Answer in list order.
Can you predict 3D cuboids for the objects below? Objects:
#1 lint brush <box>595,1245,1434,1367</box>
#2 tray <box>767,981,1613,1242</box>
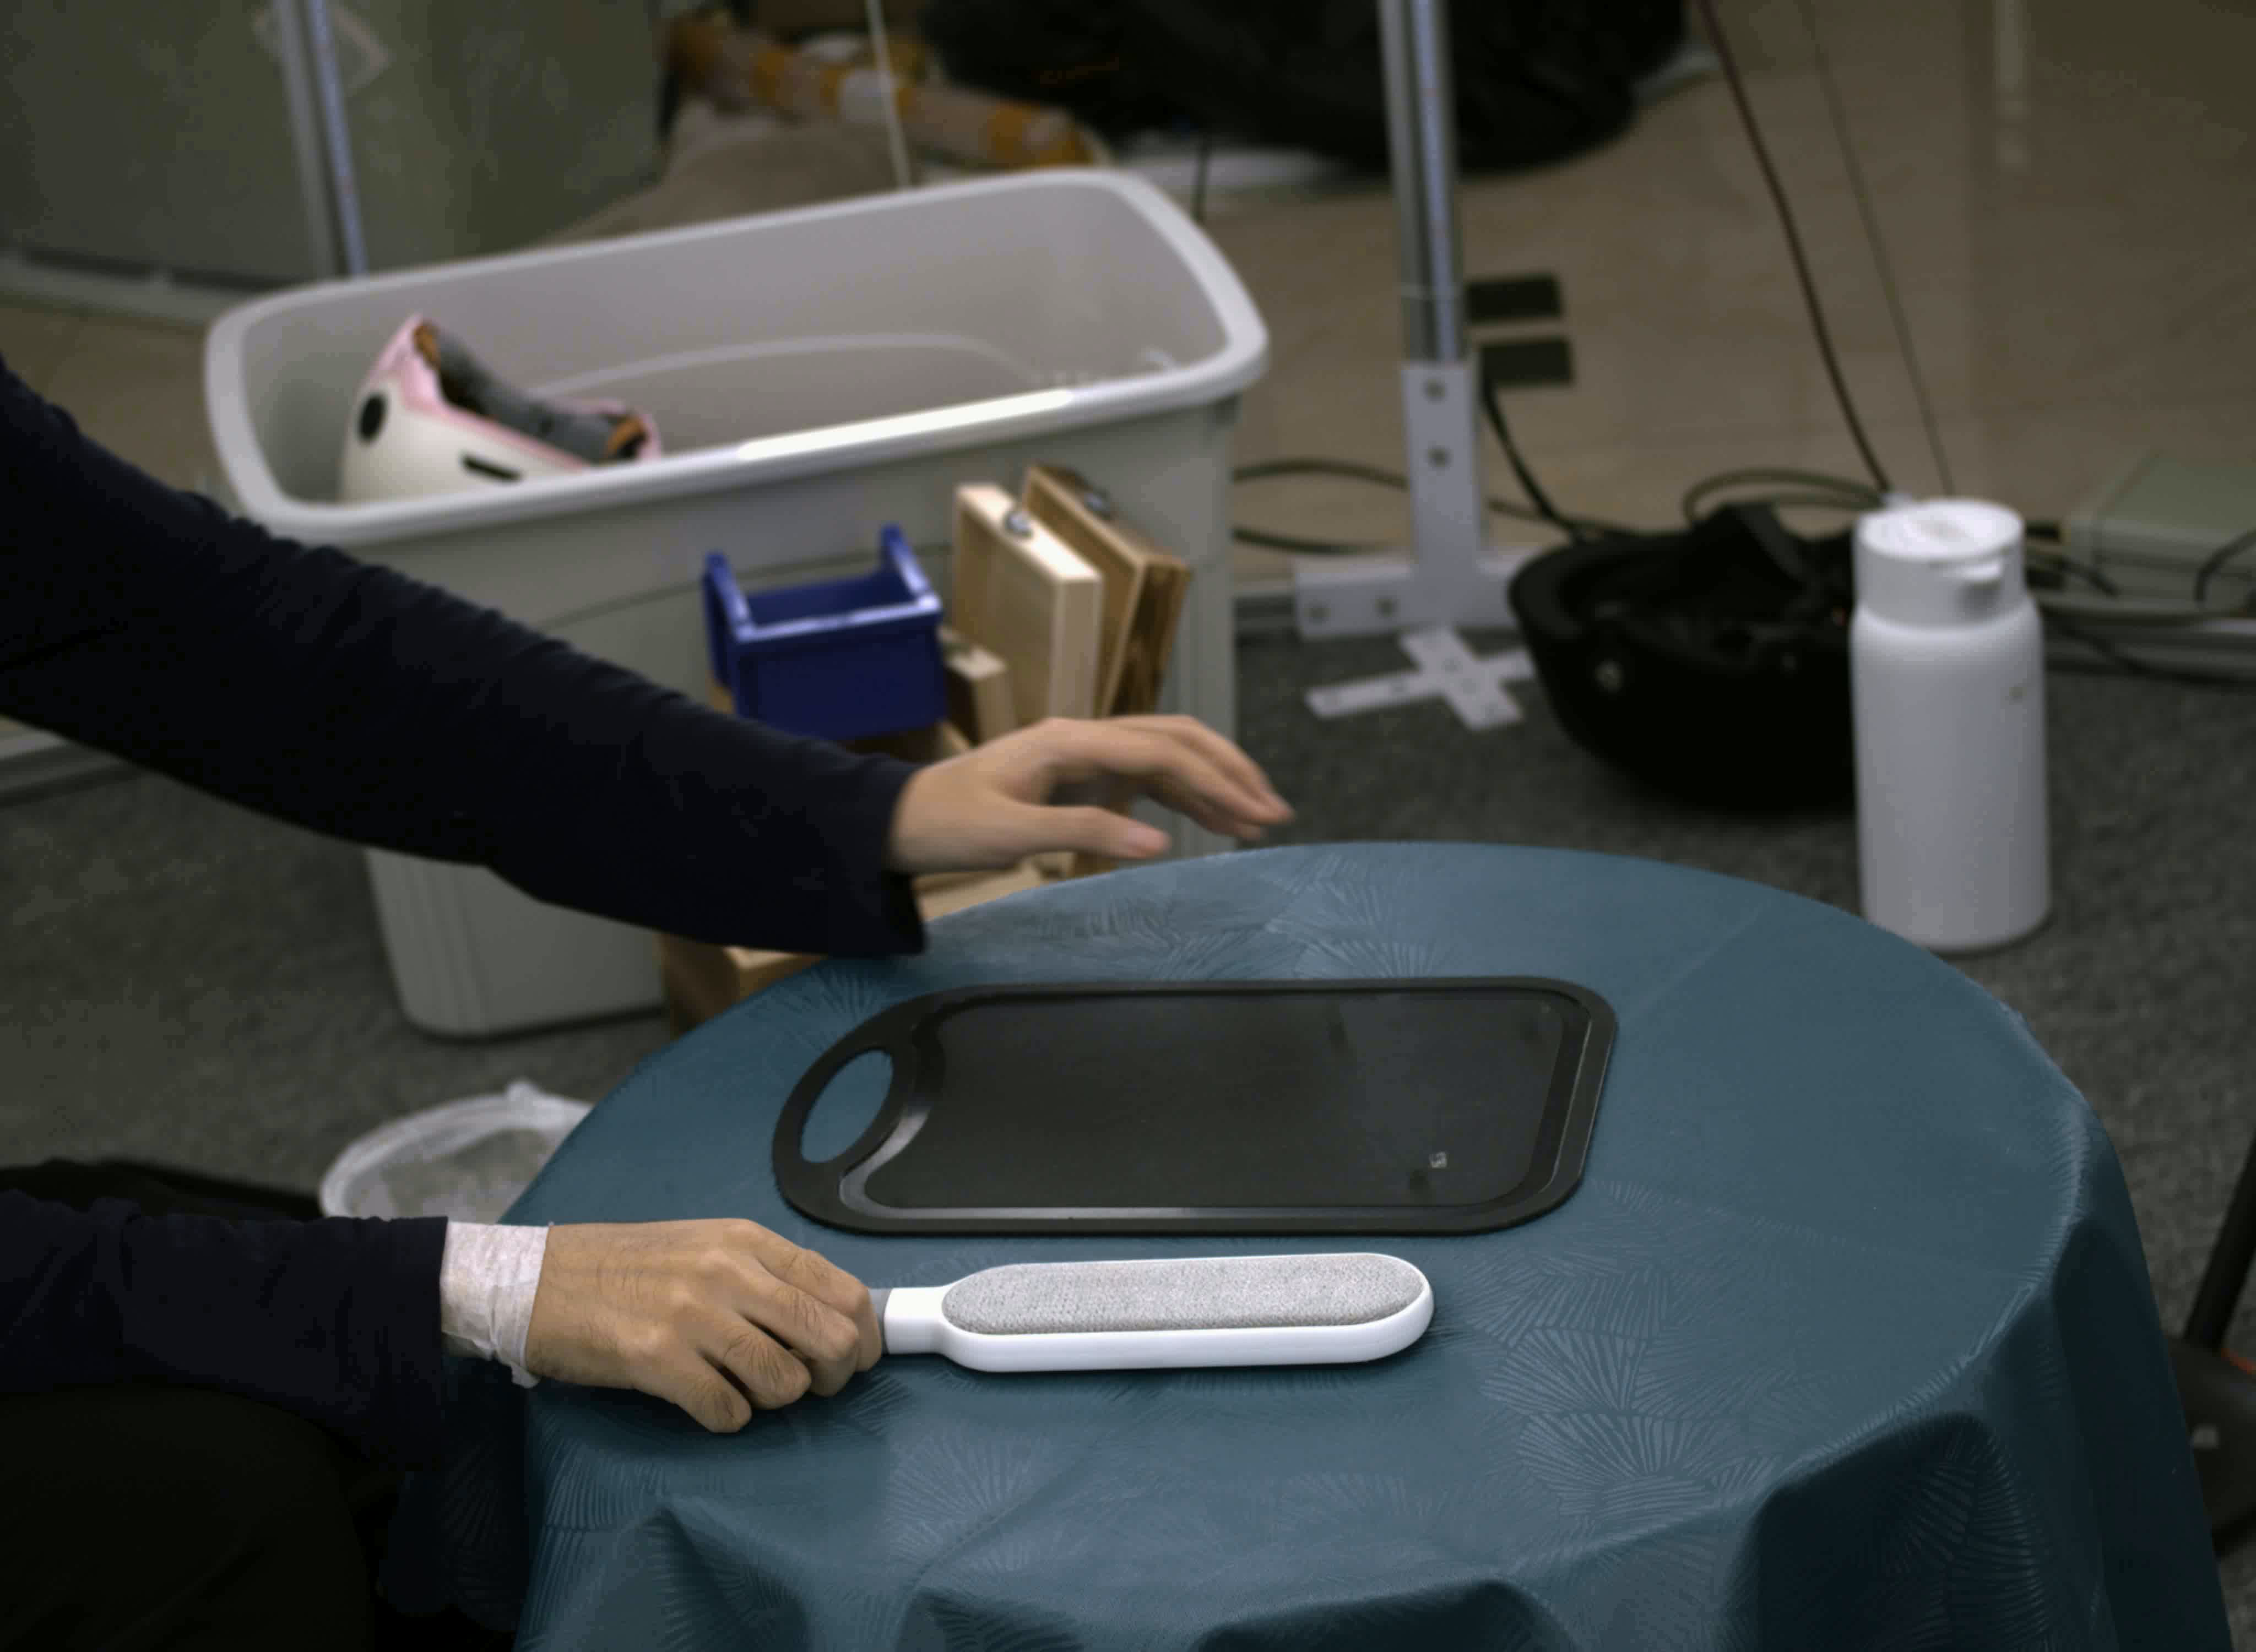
[{"bbox_3d":[-0.043,0.174,2.054,0.308,0.021,0.059,-2,31,10],"label":"lint brush"},{"bbox_3d":[0.020,0.107,2.208,0.325,0.010,0.208,-1,25,13],"label":"tray"}]
